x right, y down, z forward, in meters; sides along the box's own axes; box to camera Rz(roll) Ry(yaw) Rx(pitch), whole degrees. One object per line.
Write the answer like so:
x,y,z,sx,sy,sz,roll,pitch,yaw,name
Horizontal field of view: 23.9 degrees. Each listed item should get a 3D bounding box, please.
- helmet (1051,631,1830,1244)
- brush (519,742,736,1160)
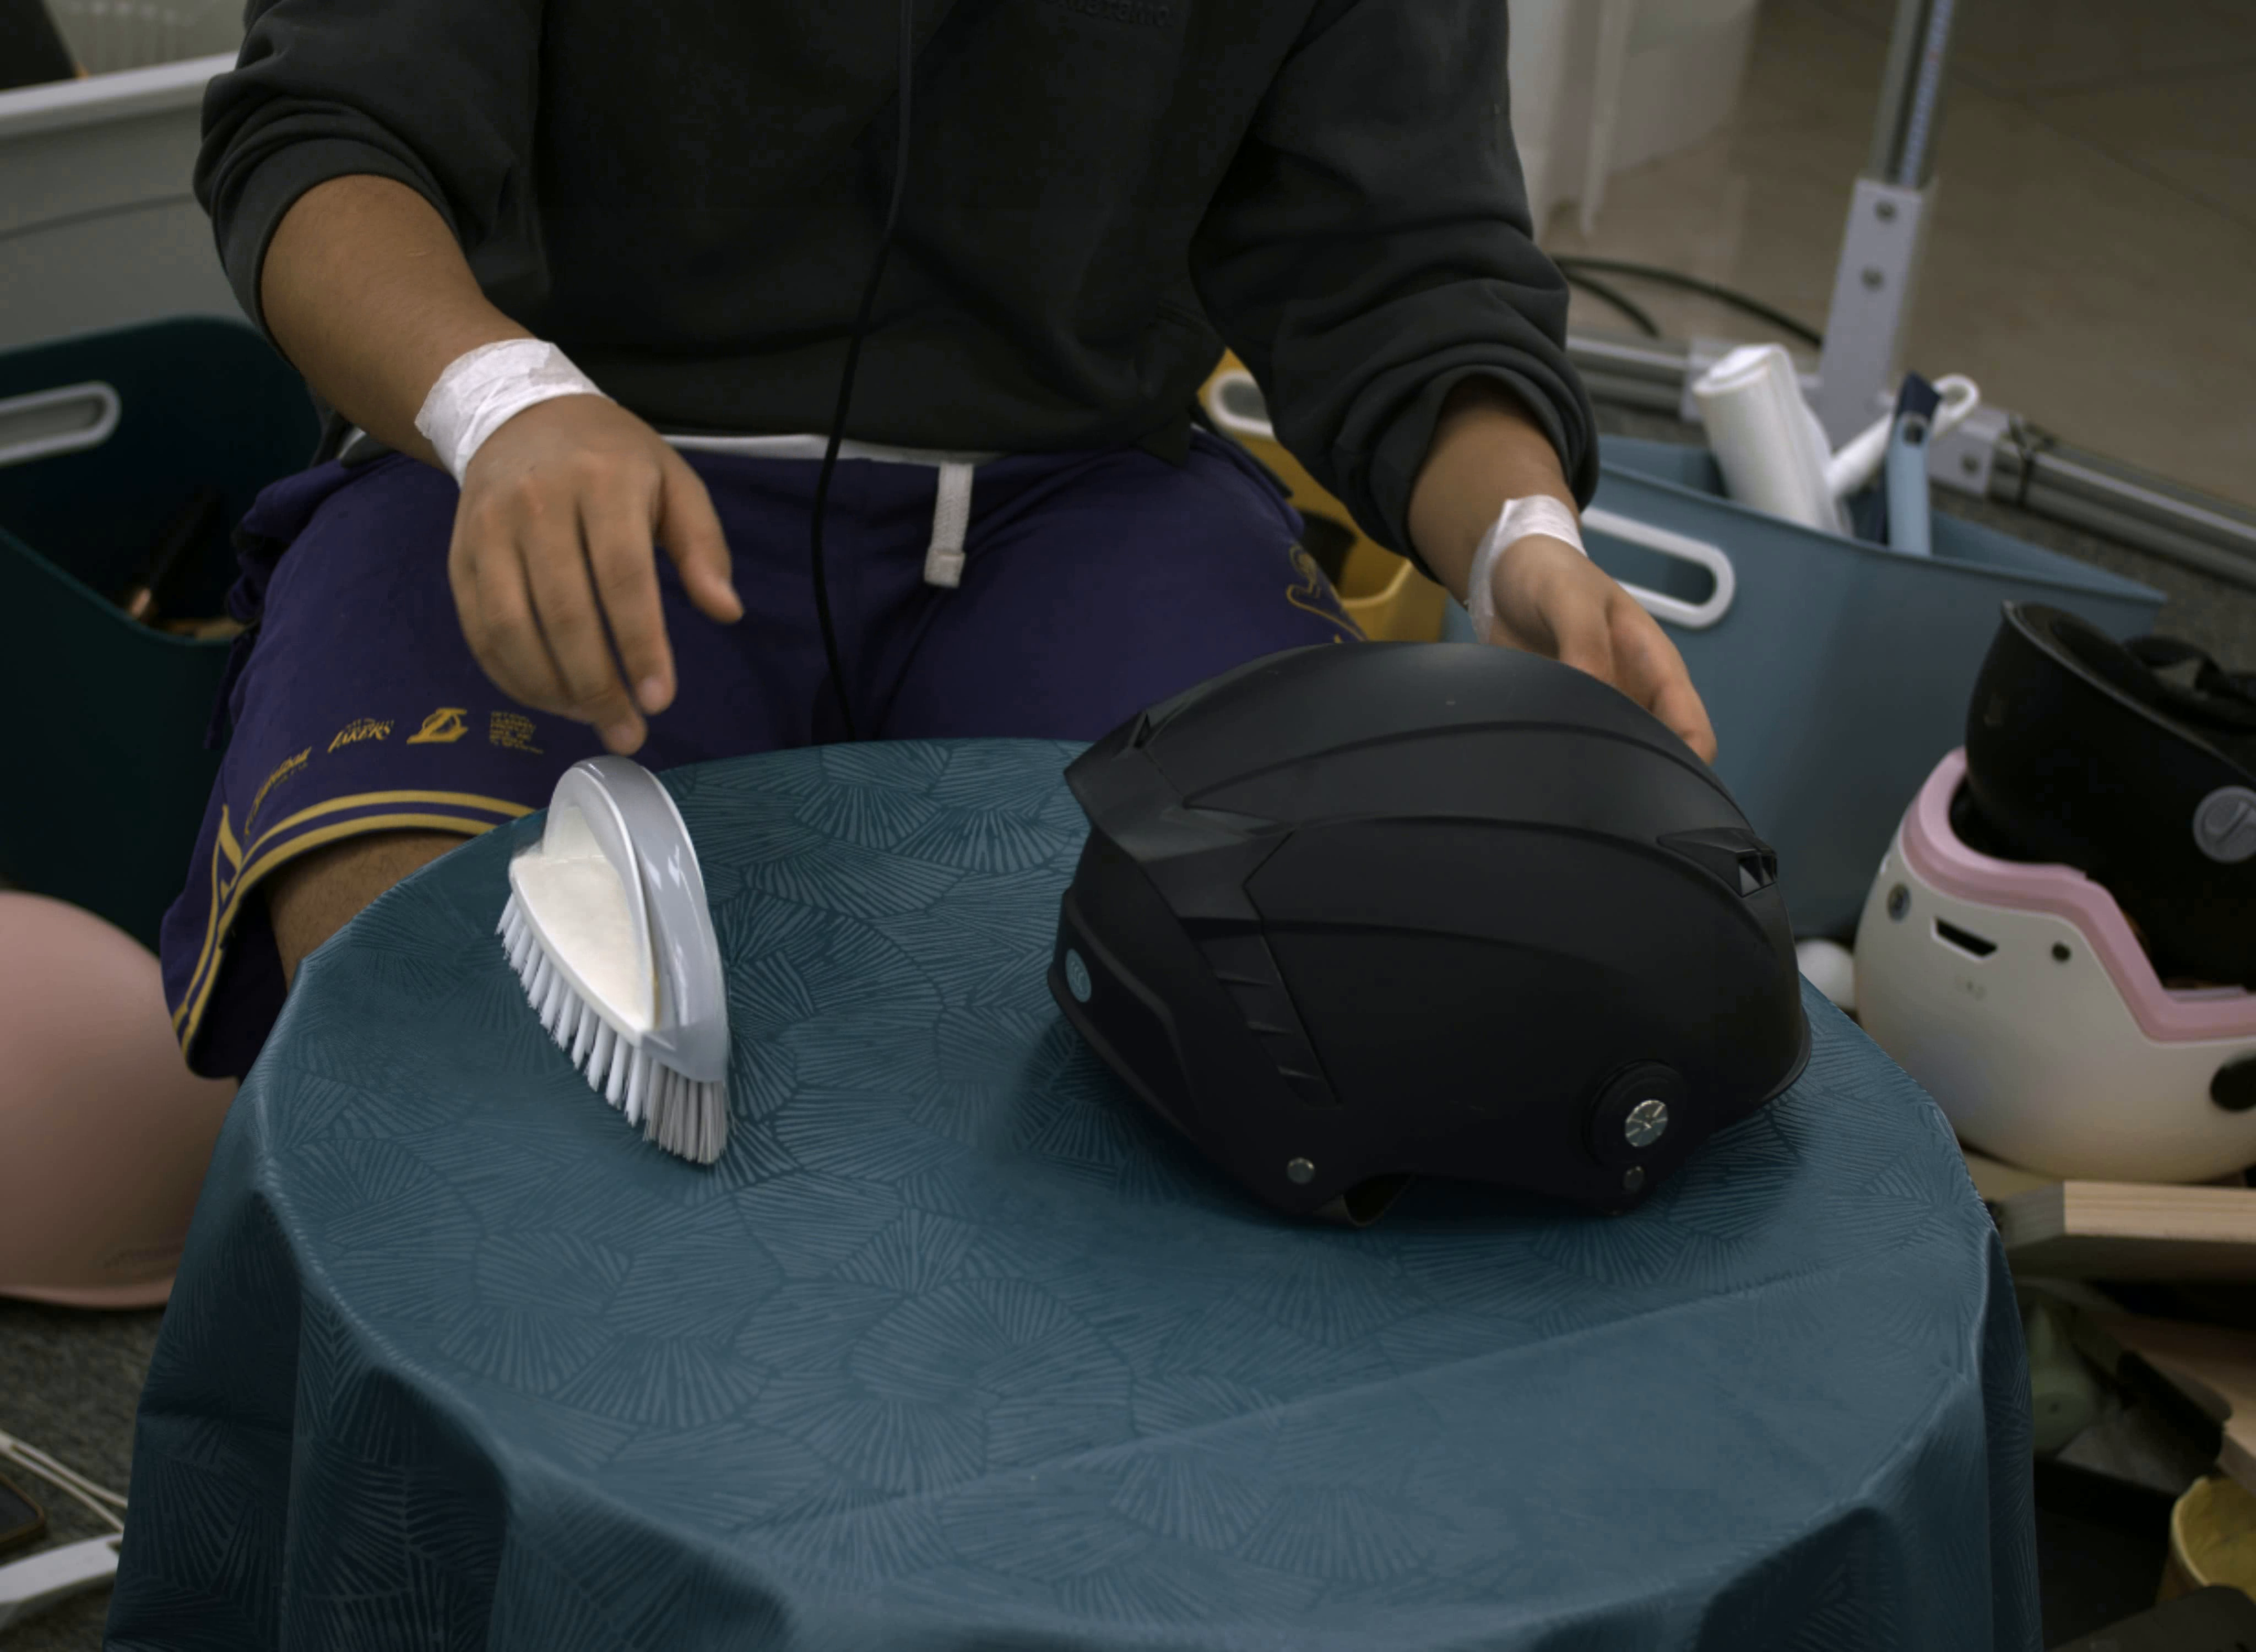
0.109,0.020,1.854,0.275,0.172,0.249,-8,31,-18,helmet
-0.165,0.035,1.838,0.061,0.094,0.177,-5,31,-20,brush
